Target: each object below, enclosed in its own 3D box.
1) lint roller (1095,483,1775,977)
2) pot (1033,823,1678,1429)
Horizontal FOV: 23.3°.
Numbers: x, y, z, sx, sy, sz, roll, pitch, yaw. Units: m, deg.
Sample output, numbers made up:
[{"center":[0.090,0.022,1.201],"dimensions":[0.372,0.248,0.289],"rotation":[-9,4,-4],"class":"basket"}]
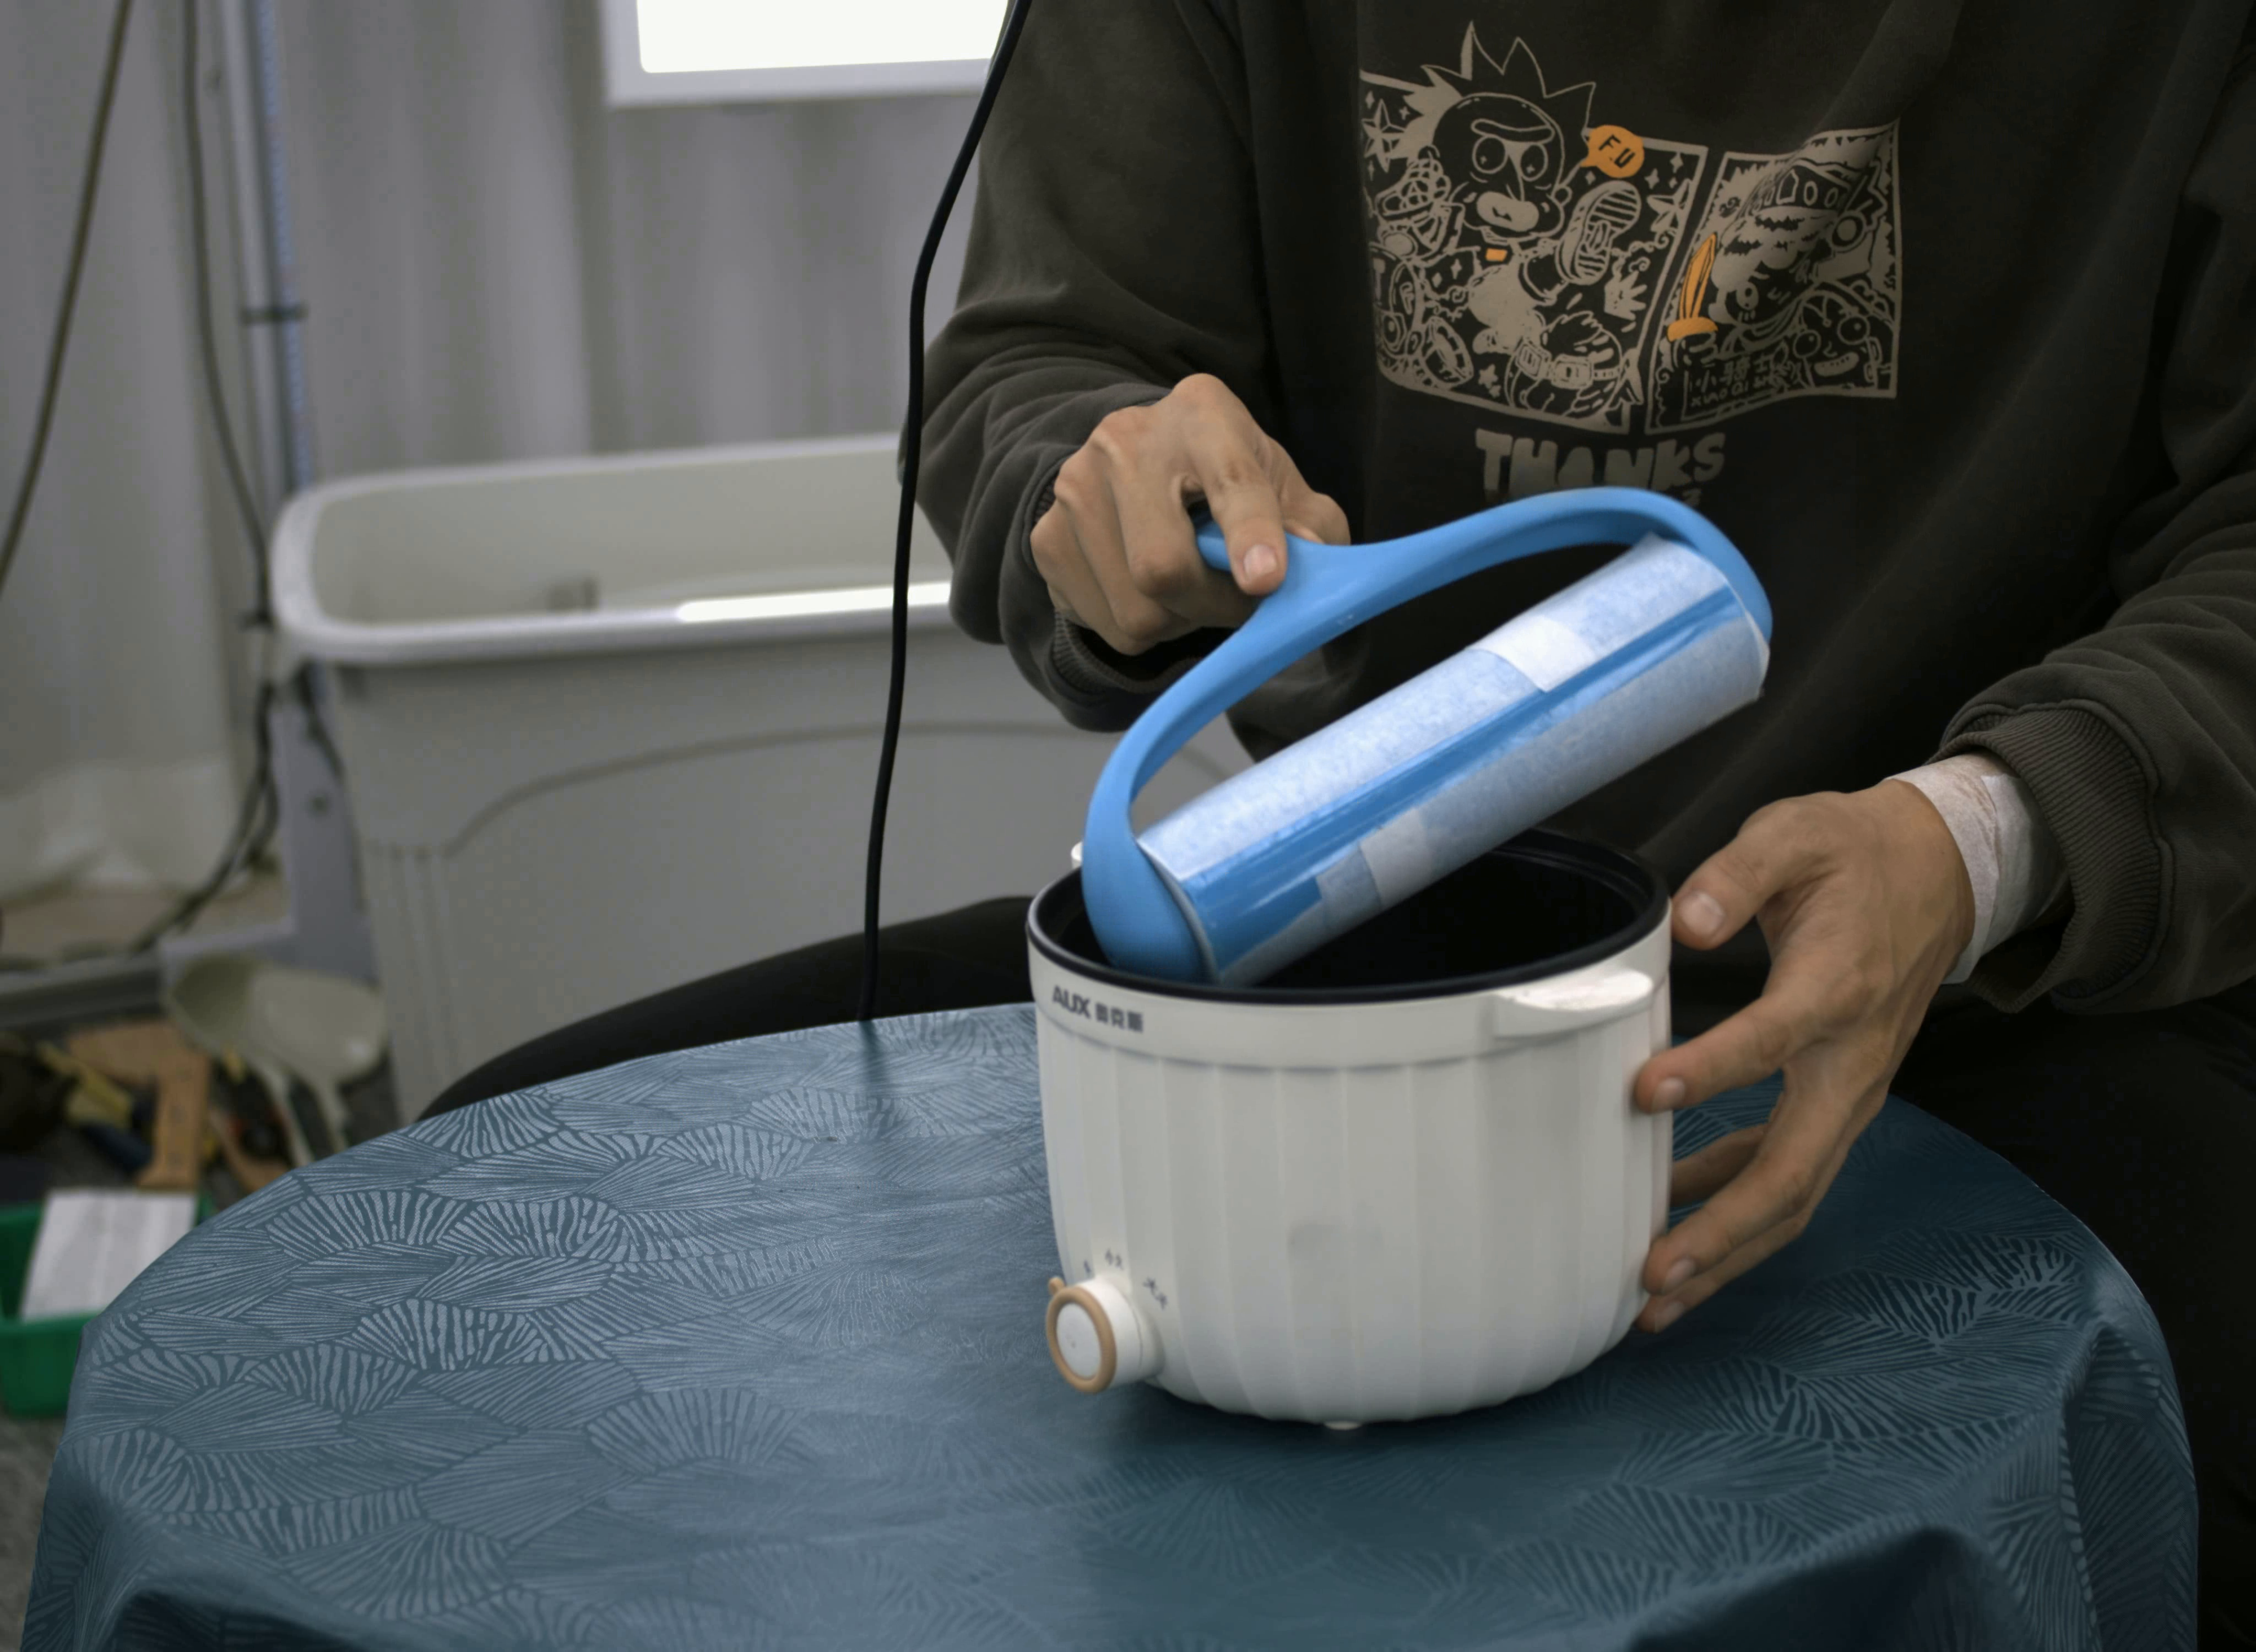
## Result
[{"center":[0.056,-0.049,1.601],"dimensions":[0.229,0.067,0.182],"rotation":[-33,51,-20],"class":"lint roller"},{"center":[0.062,0.086,1.551],"dimensions":[0.190,0.142,0.242],"rotation":[-10,15,-35],"class":"pot"}]
